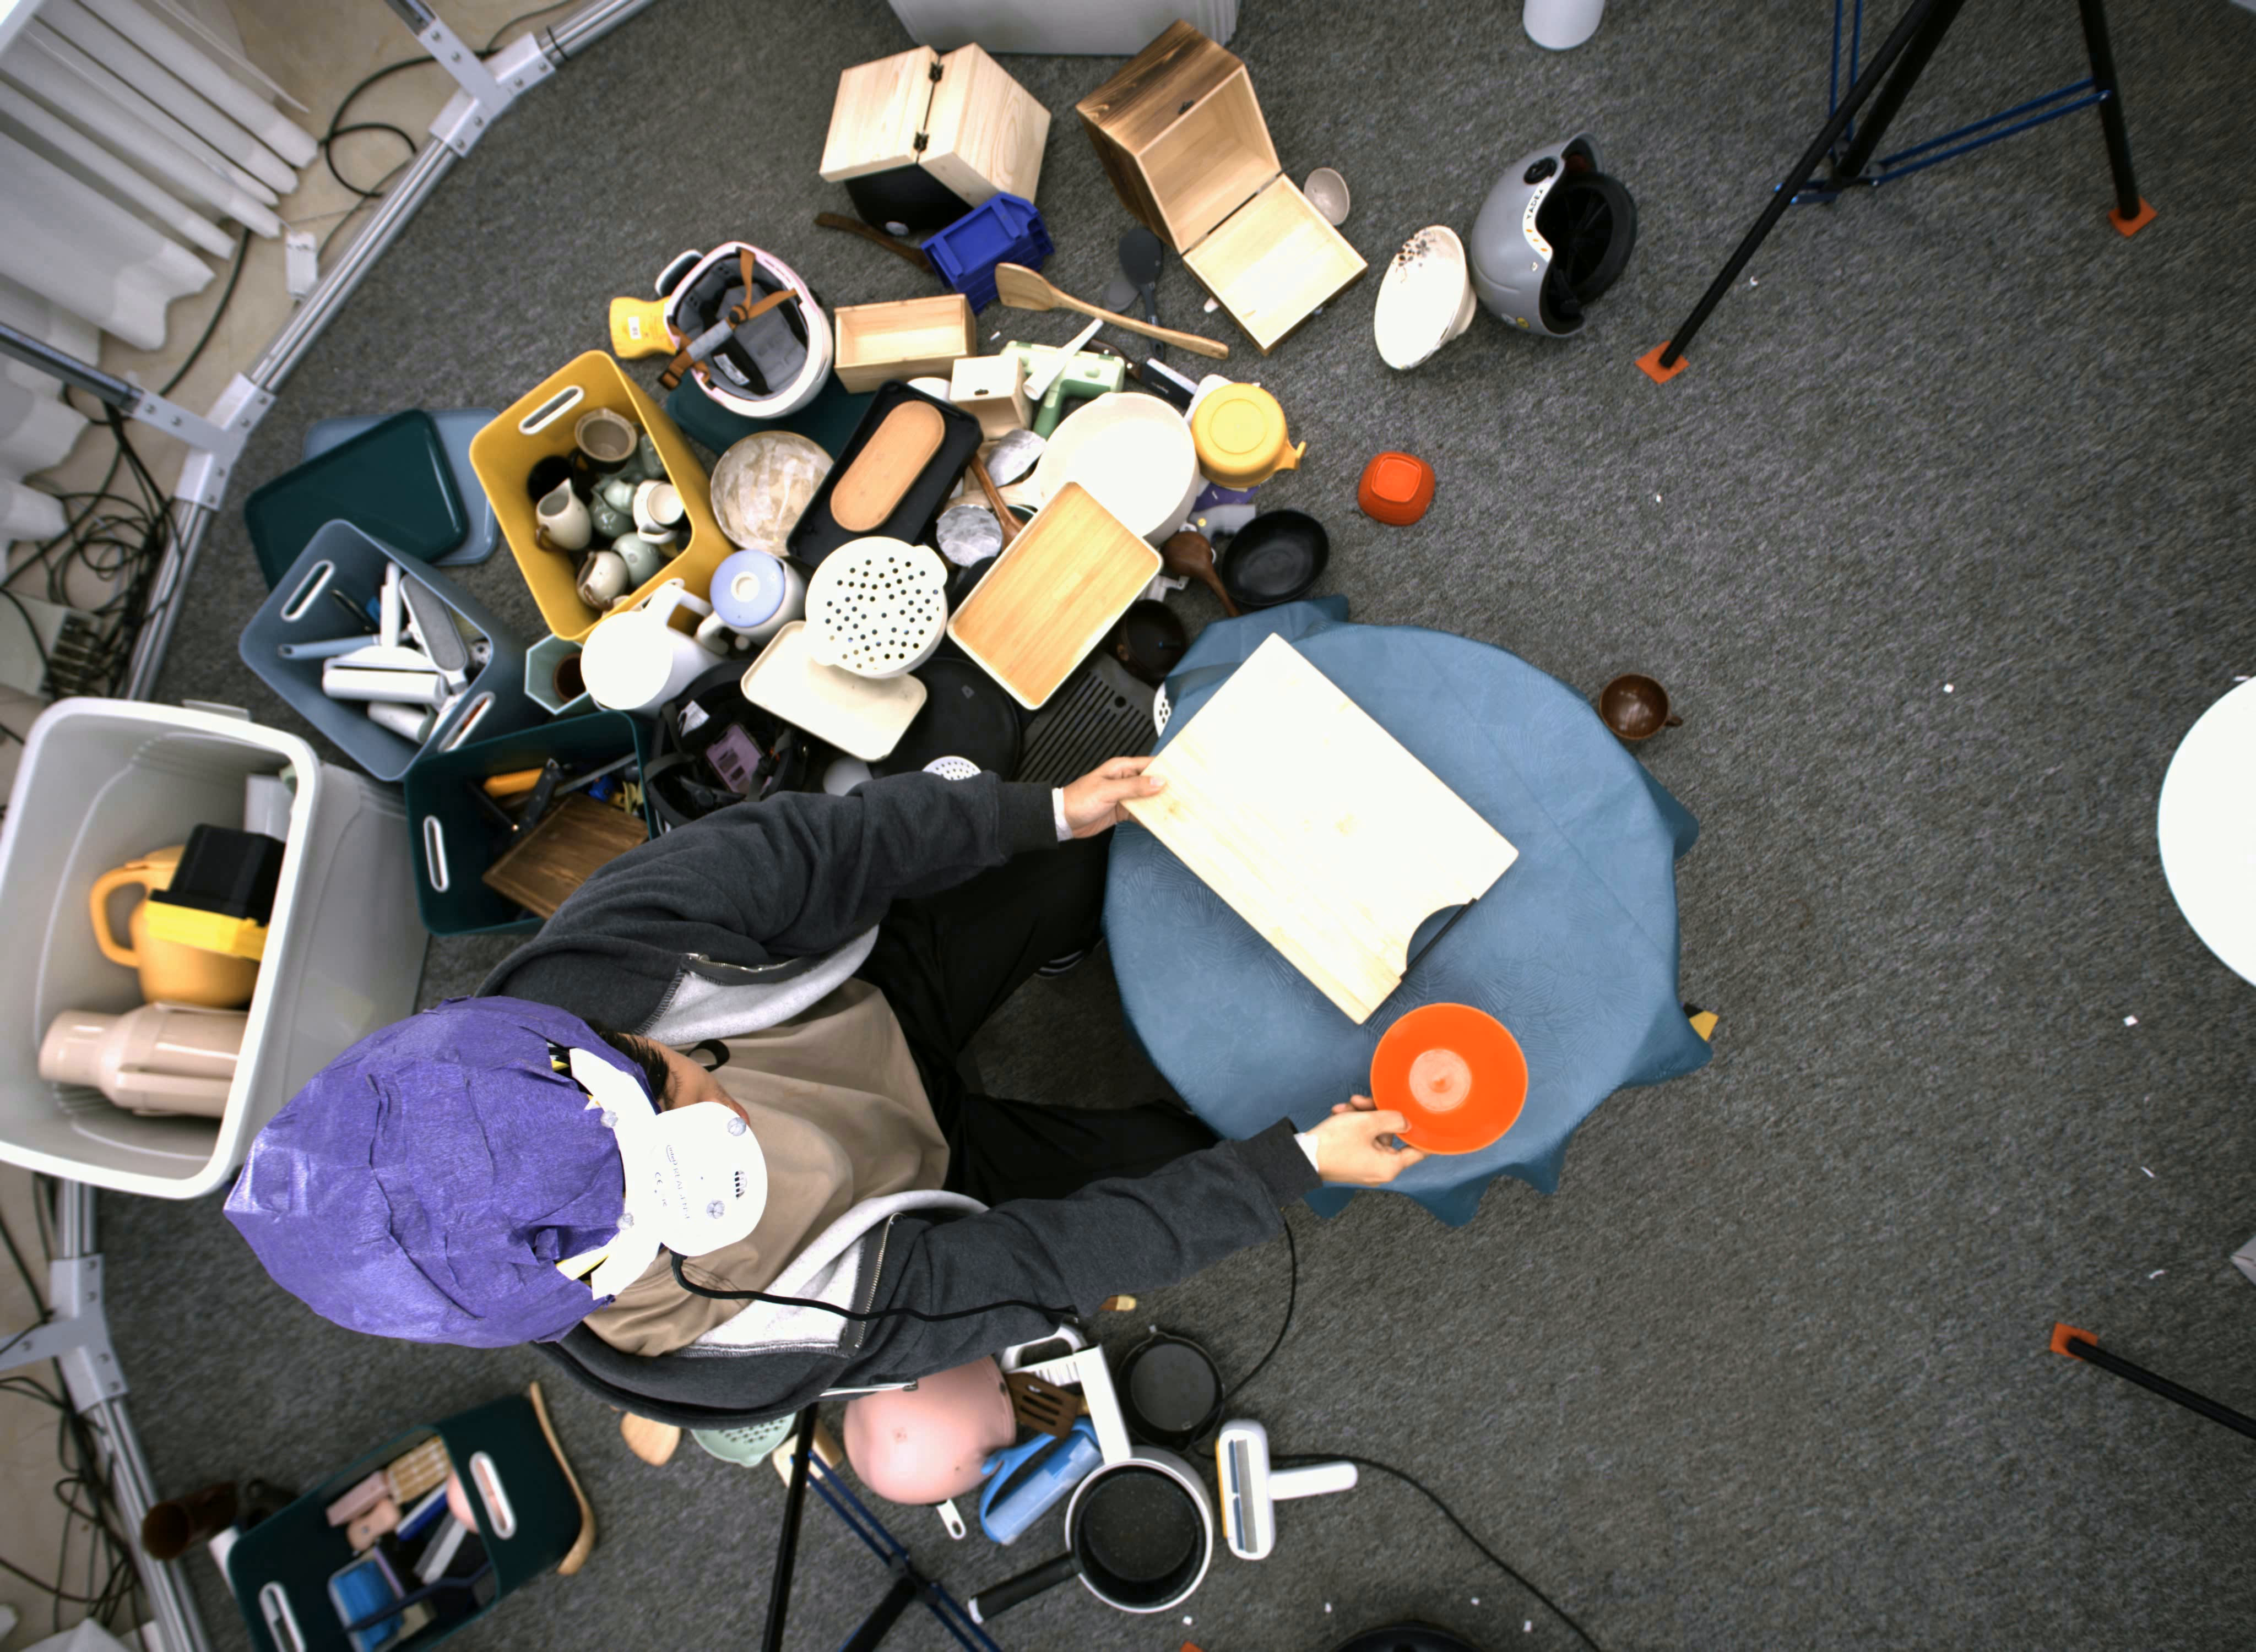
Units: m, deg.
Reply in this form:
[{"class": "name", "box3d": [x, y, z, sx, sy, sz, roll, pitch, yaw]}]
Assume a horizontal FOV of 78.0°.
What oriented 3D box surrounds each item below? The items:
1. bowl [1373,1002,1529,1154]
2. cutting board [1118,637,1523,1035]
[{"class": "bowl", "box3d": [0.314, 0.243, 1.363, 0.148, 0.104, 0.147, 0, 88, 7]}, {"class": "cutting board", "box3d": [0.196, 0.005, 1.418, 0.348, 0.023, 0.251, 42, 93, 5]}]
